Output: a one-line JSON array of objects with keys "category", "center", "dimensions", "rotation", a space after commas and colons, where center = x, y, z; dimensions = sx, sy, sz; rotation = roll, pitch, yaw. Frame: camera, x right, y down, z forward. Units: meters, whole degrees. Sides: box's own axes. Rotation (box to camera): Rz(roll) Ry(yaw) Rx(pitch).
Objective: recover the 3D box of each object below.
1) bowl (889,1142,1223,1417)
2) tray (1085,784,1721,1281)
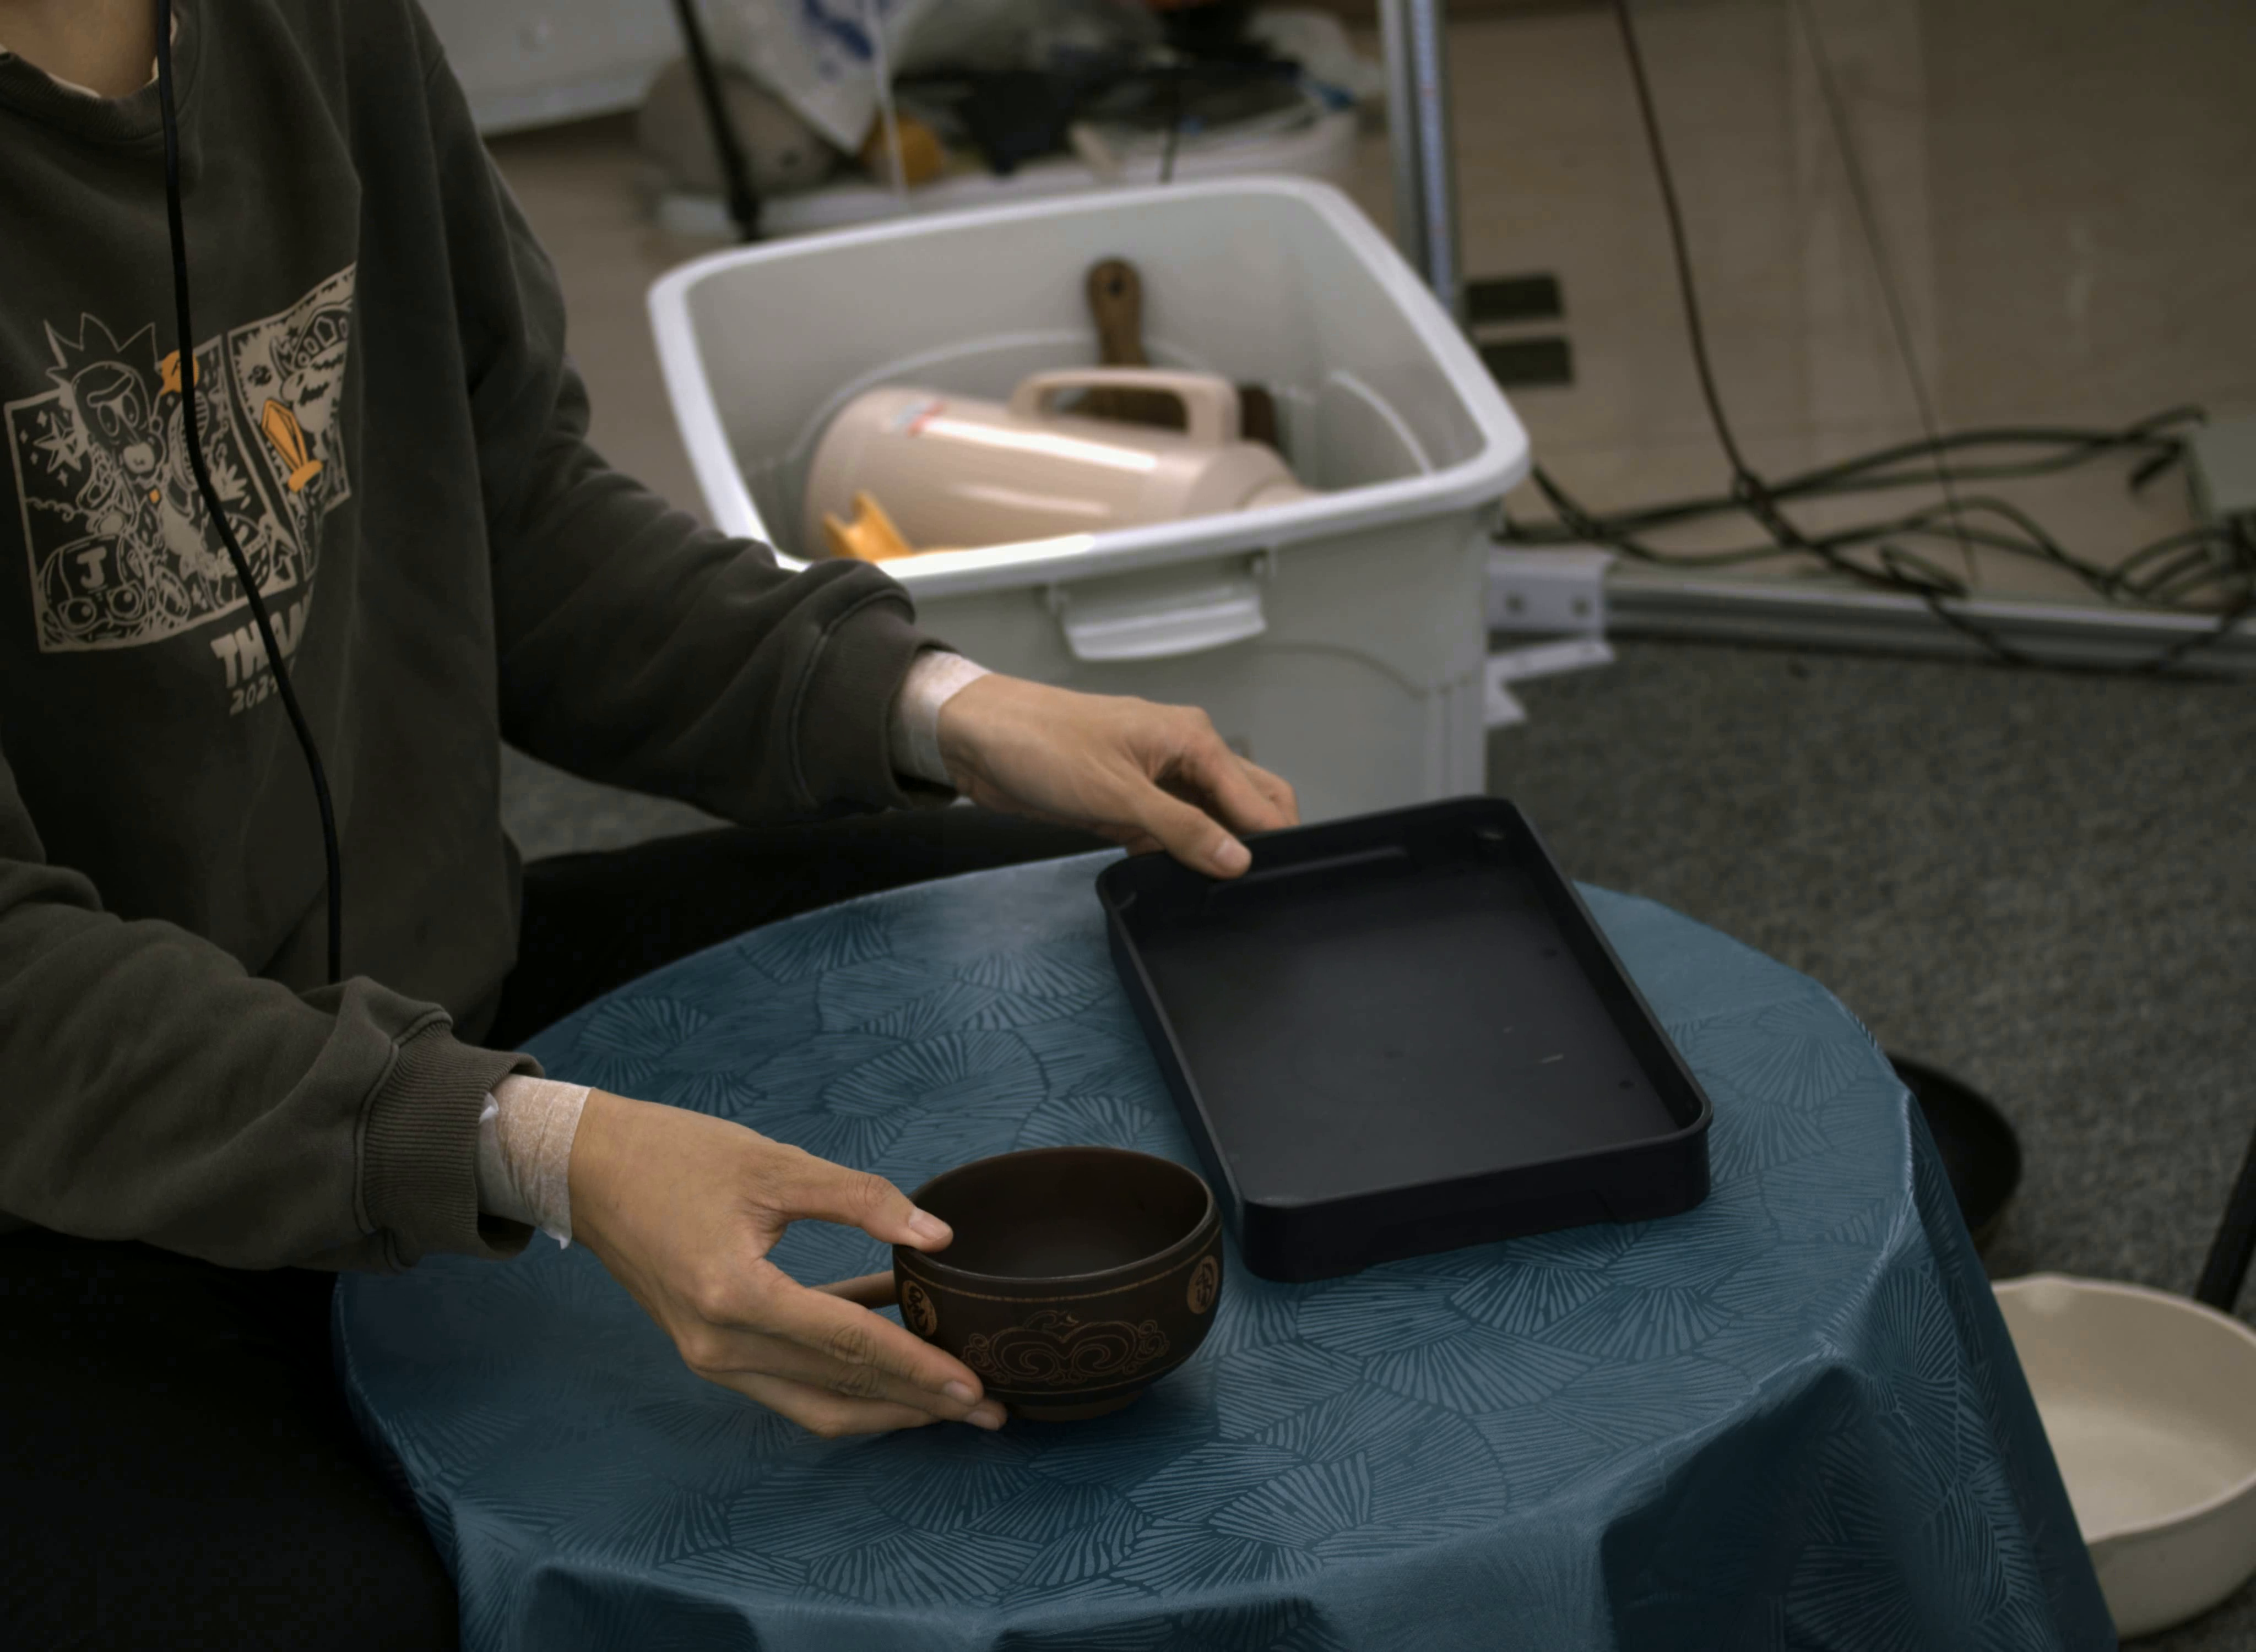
[{"category": "bowl", "center": [-0.024, 0.166, 2.005], "dimensions": [0.118, 0.071, 0.116], "rotation": [-6, 21, 2]}, {"category": "tray", "center": [0.102, 0.075, 2.214], "dimensions": [0.184, 0.037, 0.313], "rotation": [-12, 26, -8]}]
